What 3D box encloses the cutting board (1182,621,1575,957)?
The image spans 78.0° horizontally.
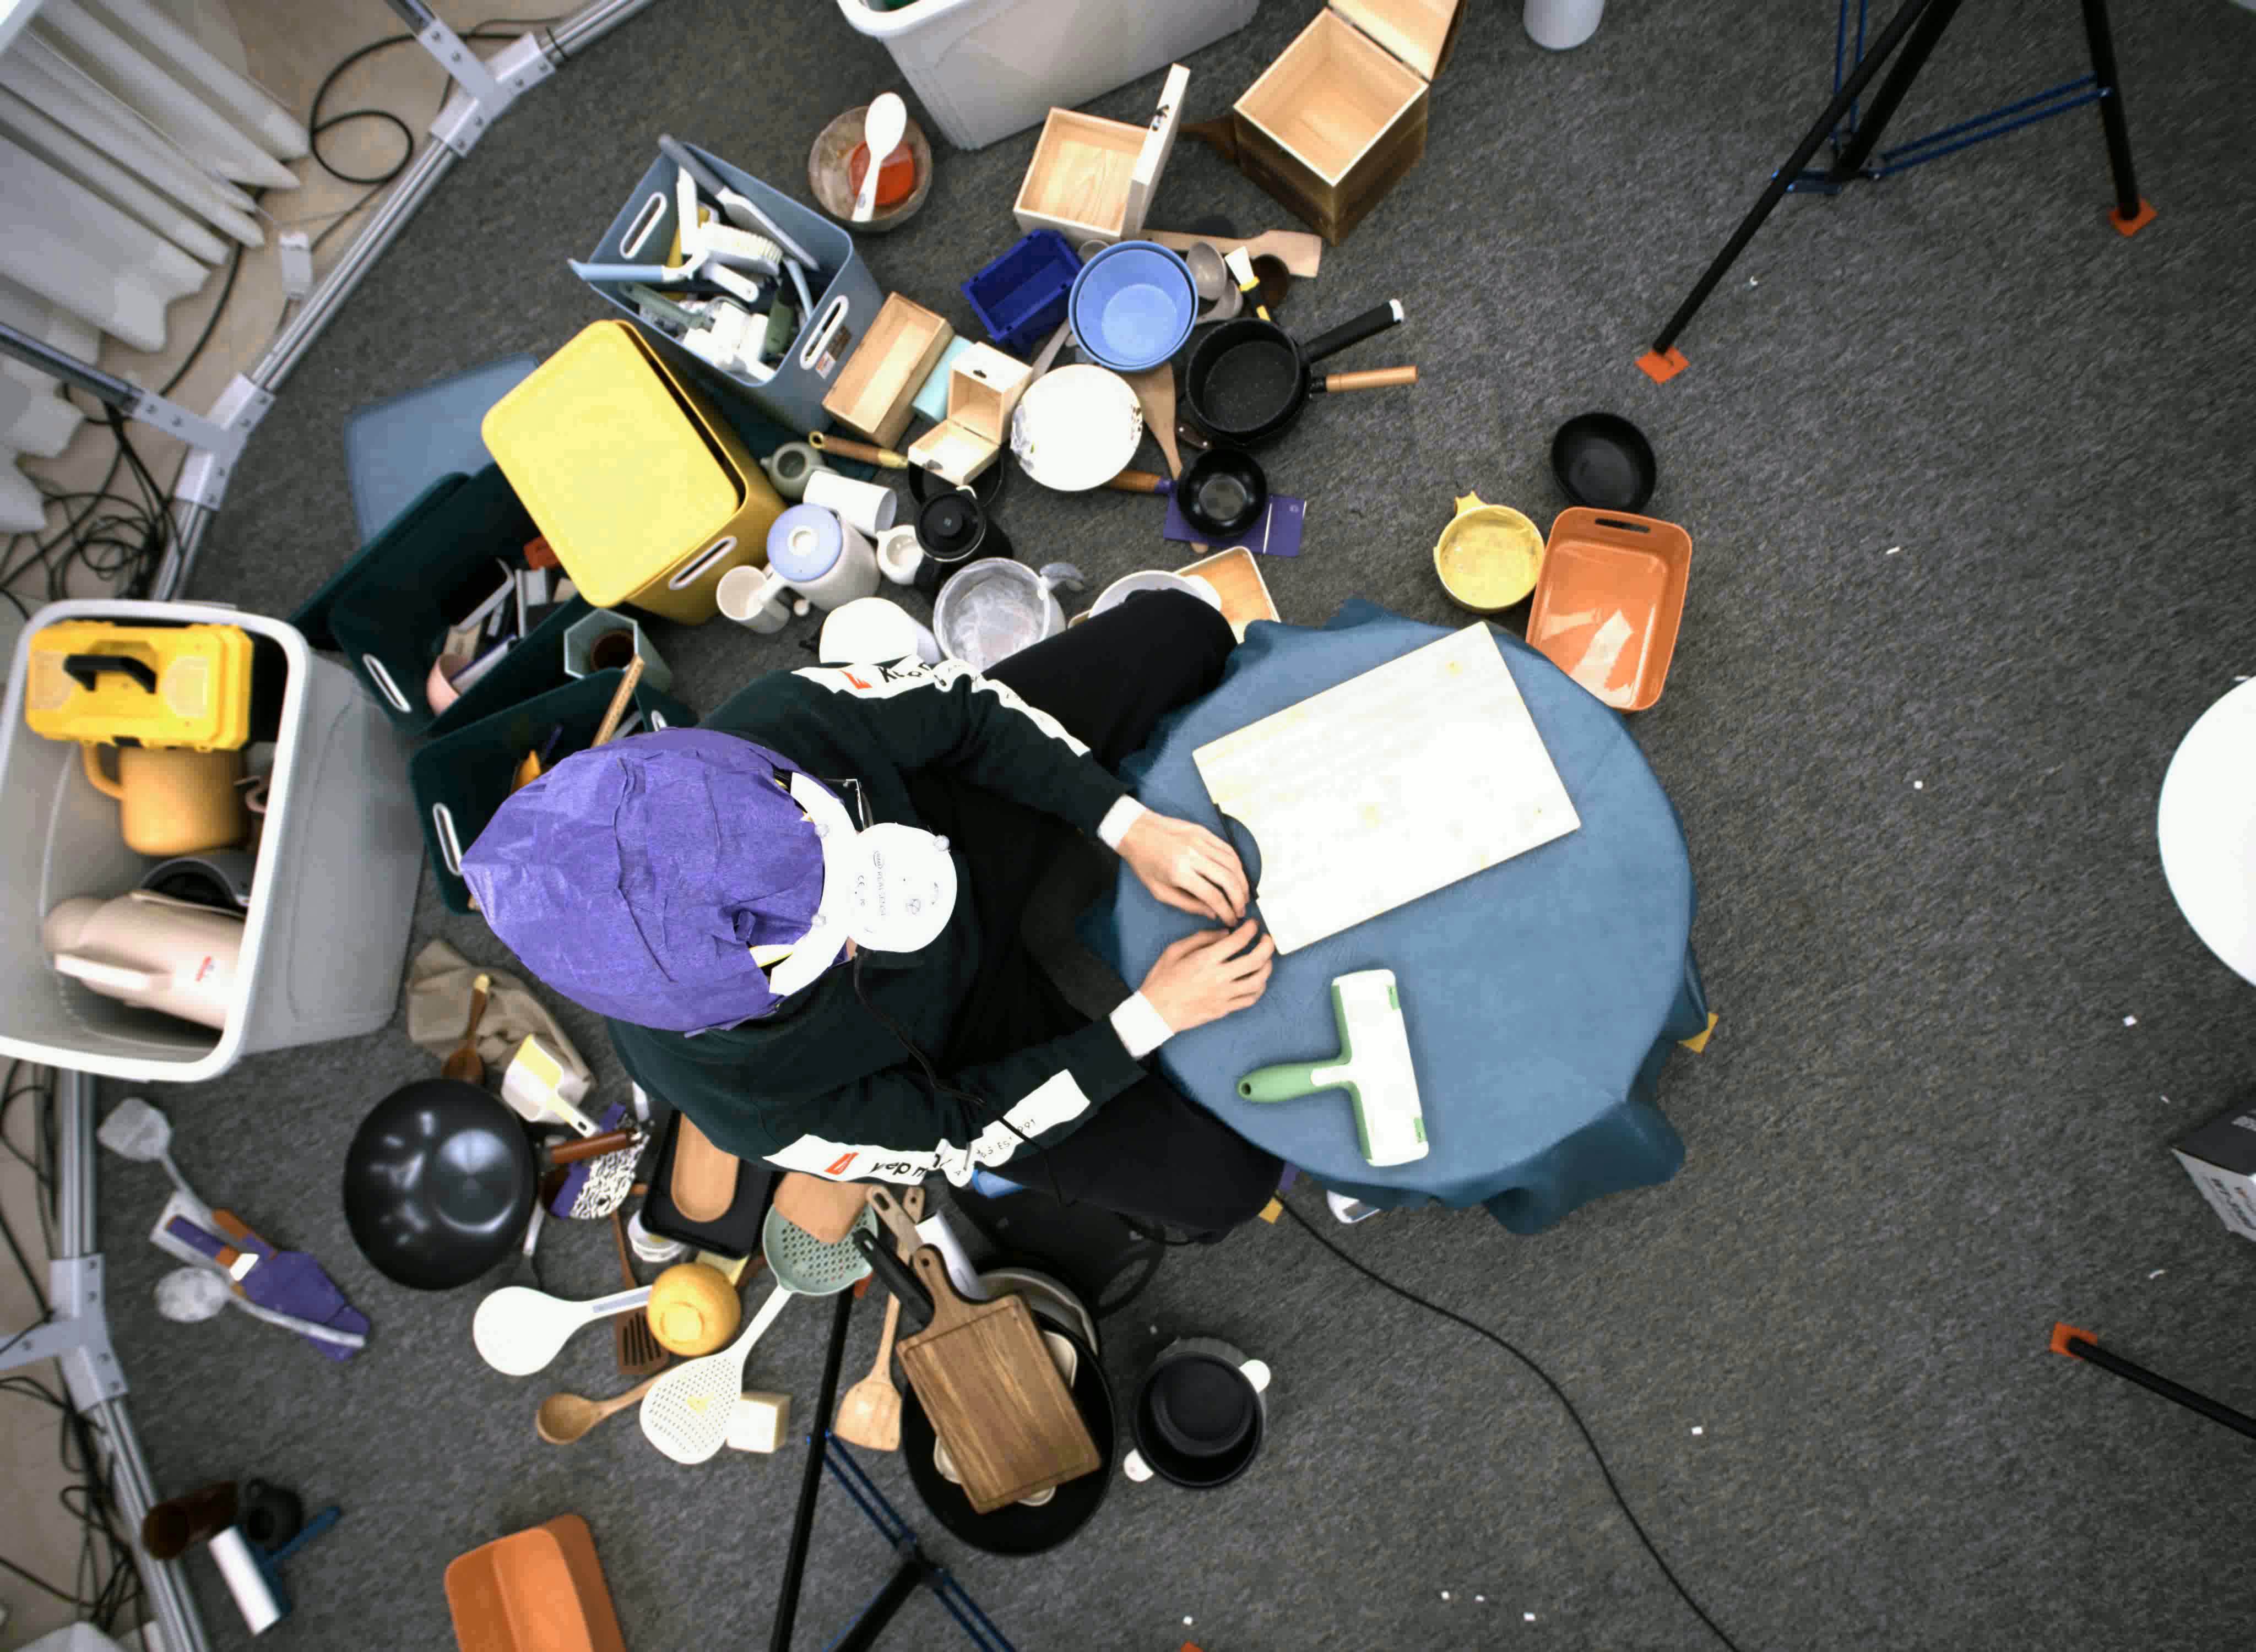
[{"bbox_3d":[0.263,-0.040,1.454,0.350,0.023,0.249,-25,83,8],"label":"cutting board"}]

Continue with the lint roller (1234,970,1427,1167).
[{"bbox_3d":[0.199,0.256,1.420,0.184,0.082,0.197,-10,85,5],"label":"lint roller"}]
